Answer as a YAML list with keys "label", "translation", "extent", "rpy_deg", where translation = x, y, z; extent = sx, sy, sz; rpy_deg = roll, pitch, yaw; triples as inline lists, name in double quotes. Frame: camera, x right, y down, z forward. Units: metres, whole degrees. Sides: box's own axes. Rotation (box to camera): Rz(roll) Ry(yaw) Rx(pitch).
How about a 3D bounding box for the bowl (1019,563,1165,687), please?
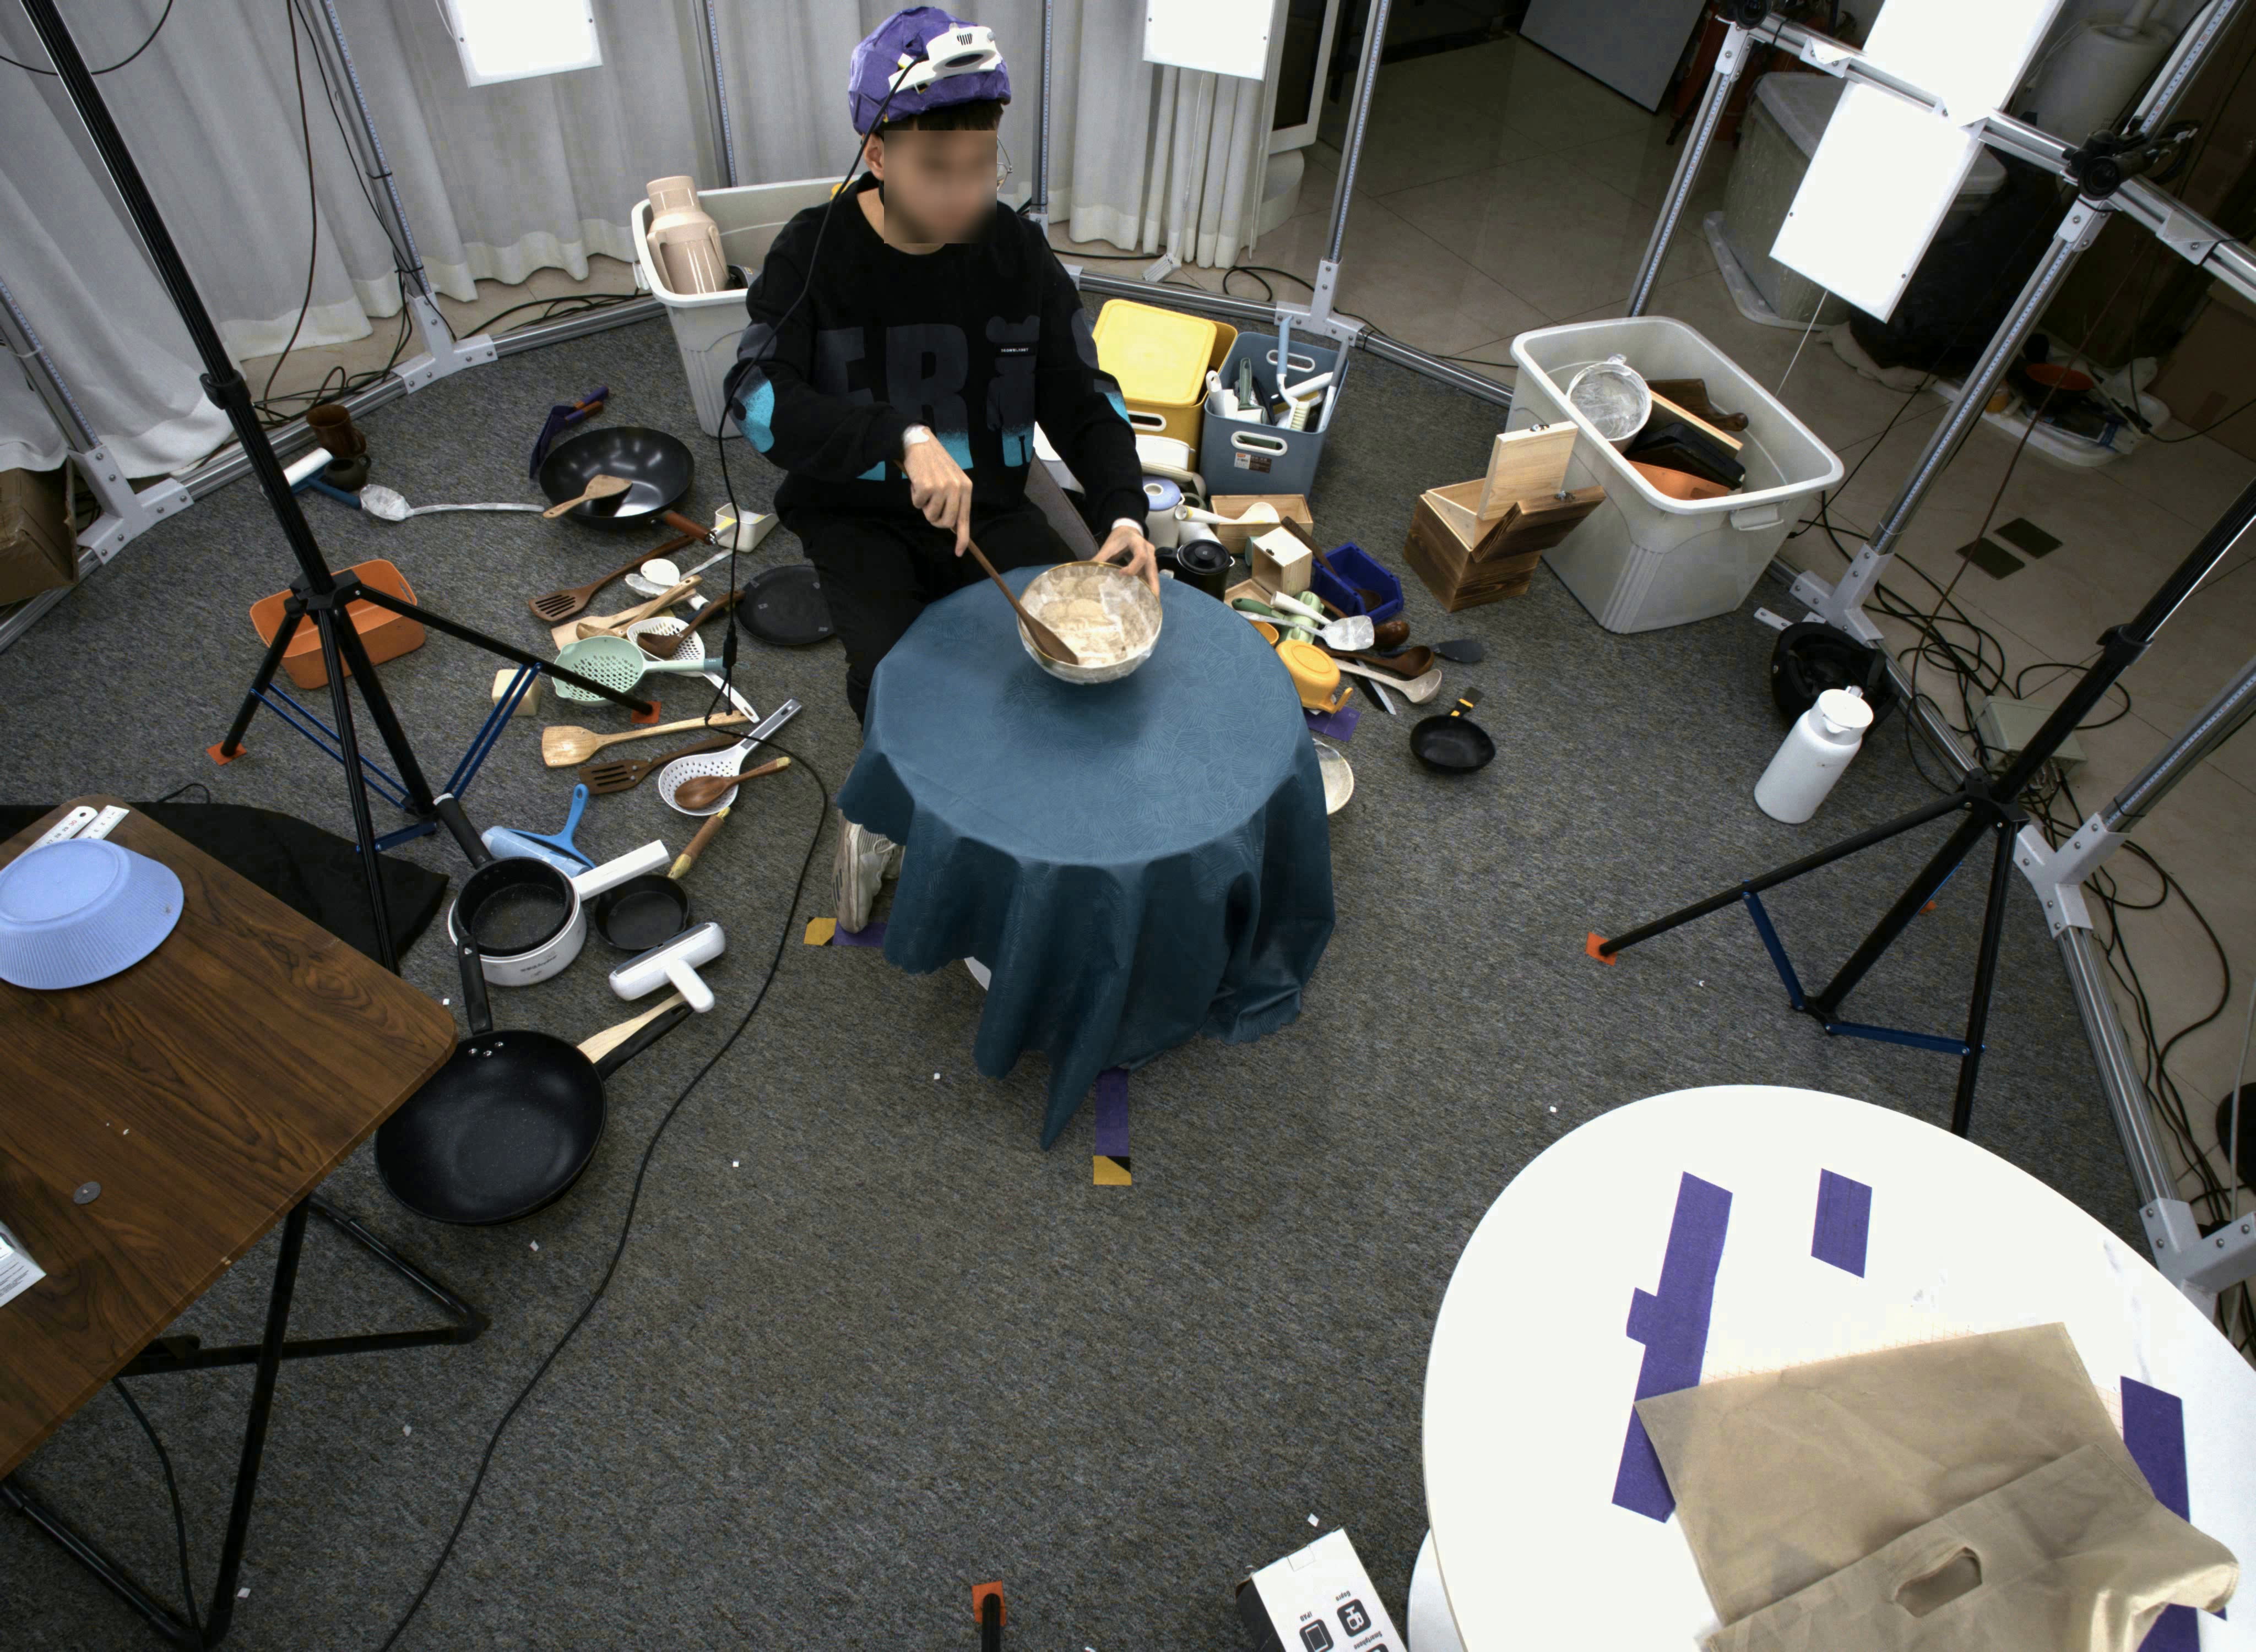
- label: "bowl"
  translation: [-0.049, -0.271, 1.827]
  extent: [0.214, 0.092, 0.220]
  rpy_deg: [-1, 53, 1]

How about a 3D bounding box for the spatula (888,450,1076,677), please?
- label: "spatula"
  translation: [-0.191, -0.353, 1.751]
  extent: [0.016, 0.382, 0.097]
  rpy_deg: [-36, 15, 14]
